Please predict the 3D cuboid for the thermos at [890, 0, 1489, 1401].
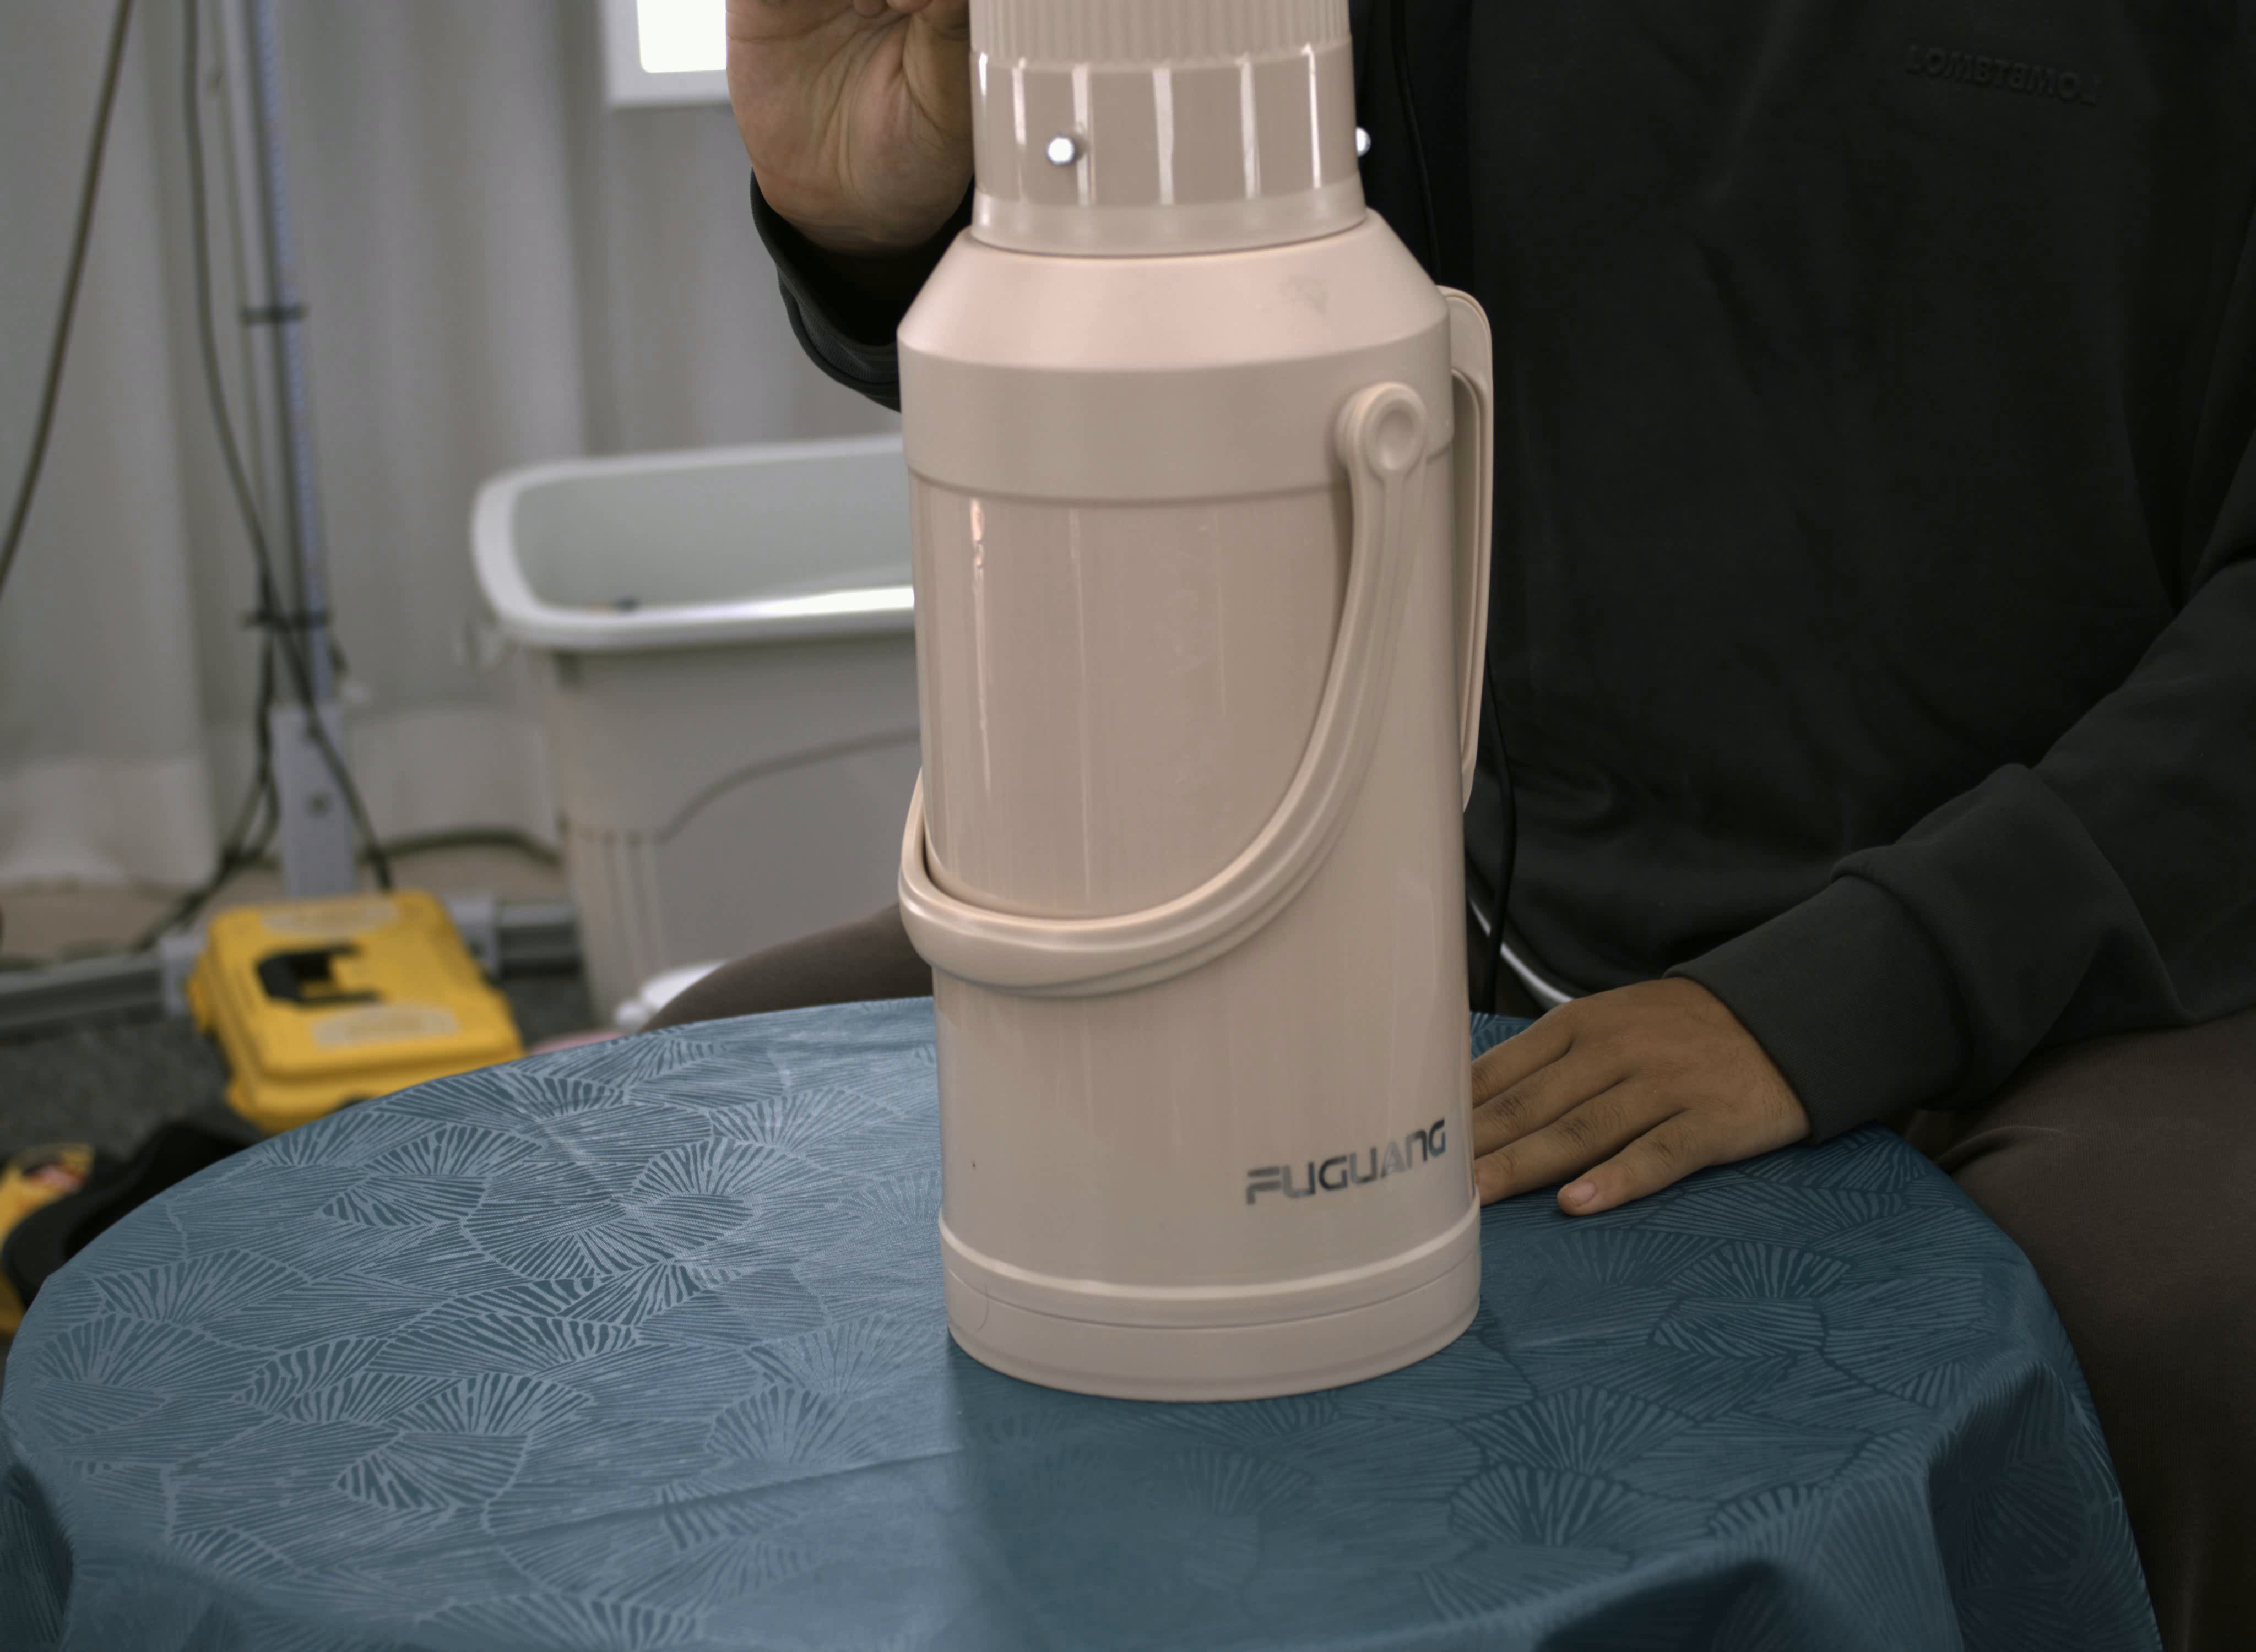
[{"bbox_3d":[0.026,-0.053,1.576,0.206,0.405,0.176,-15,19,-41],"label":"thermos"}]
